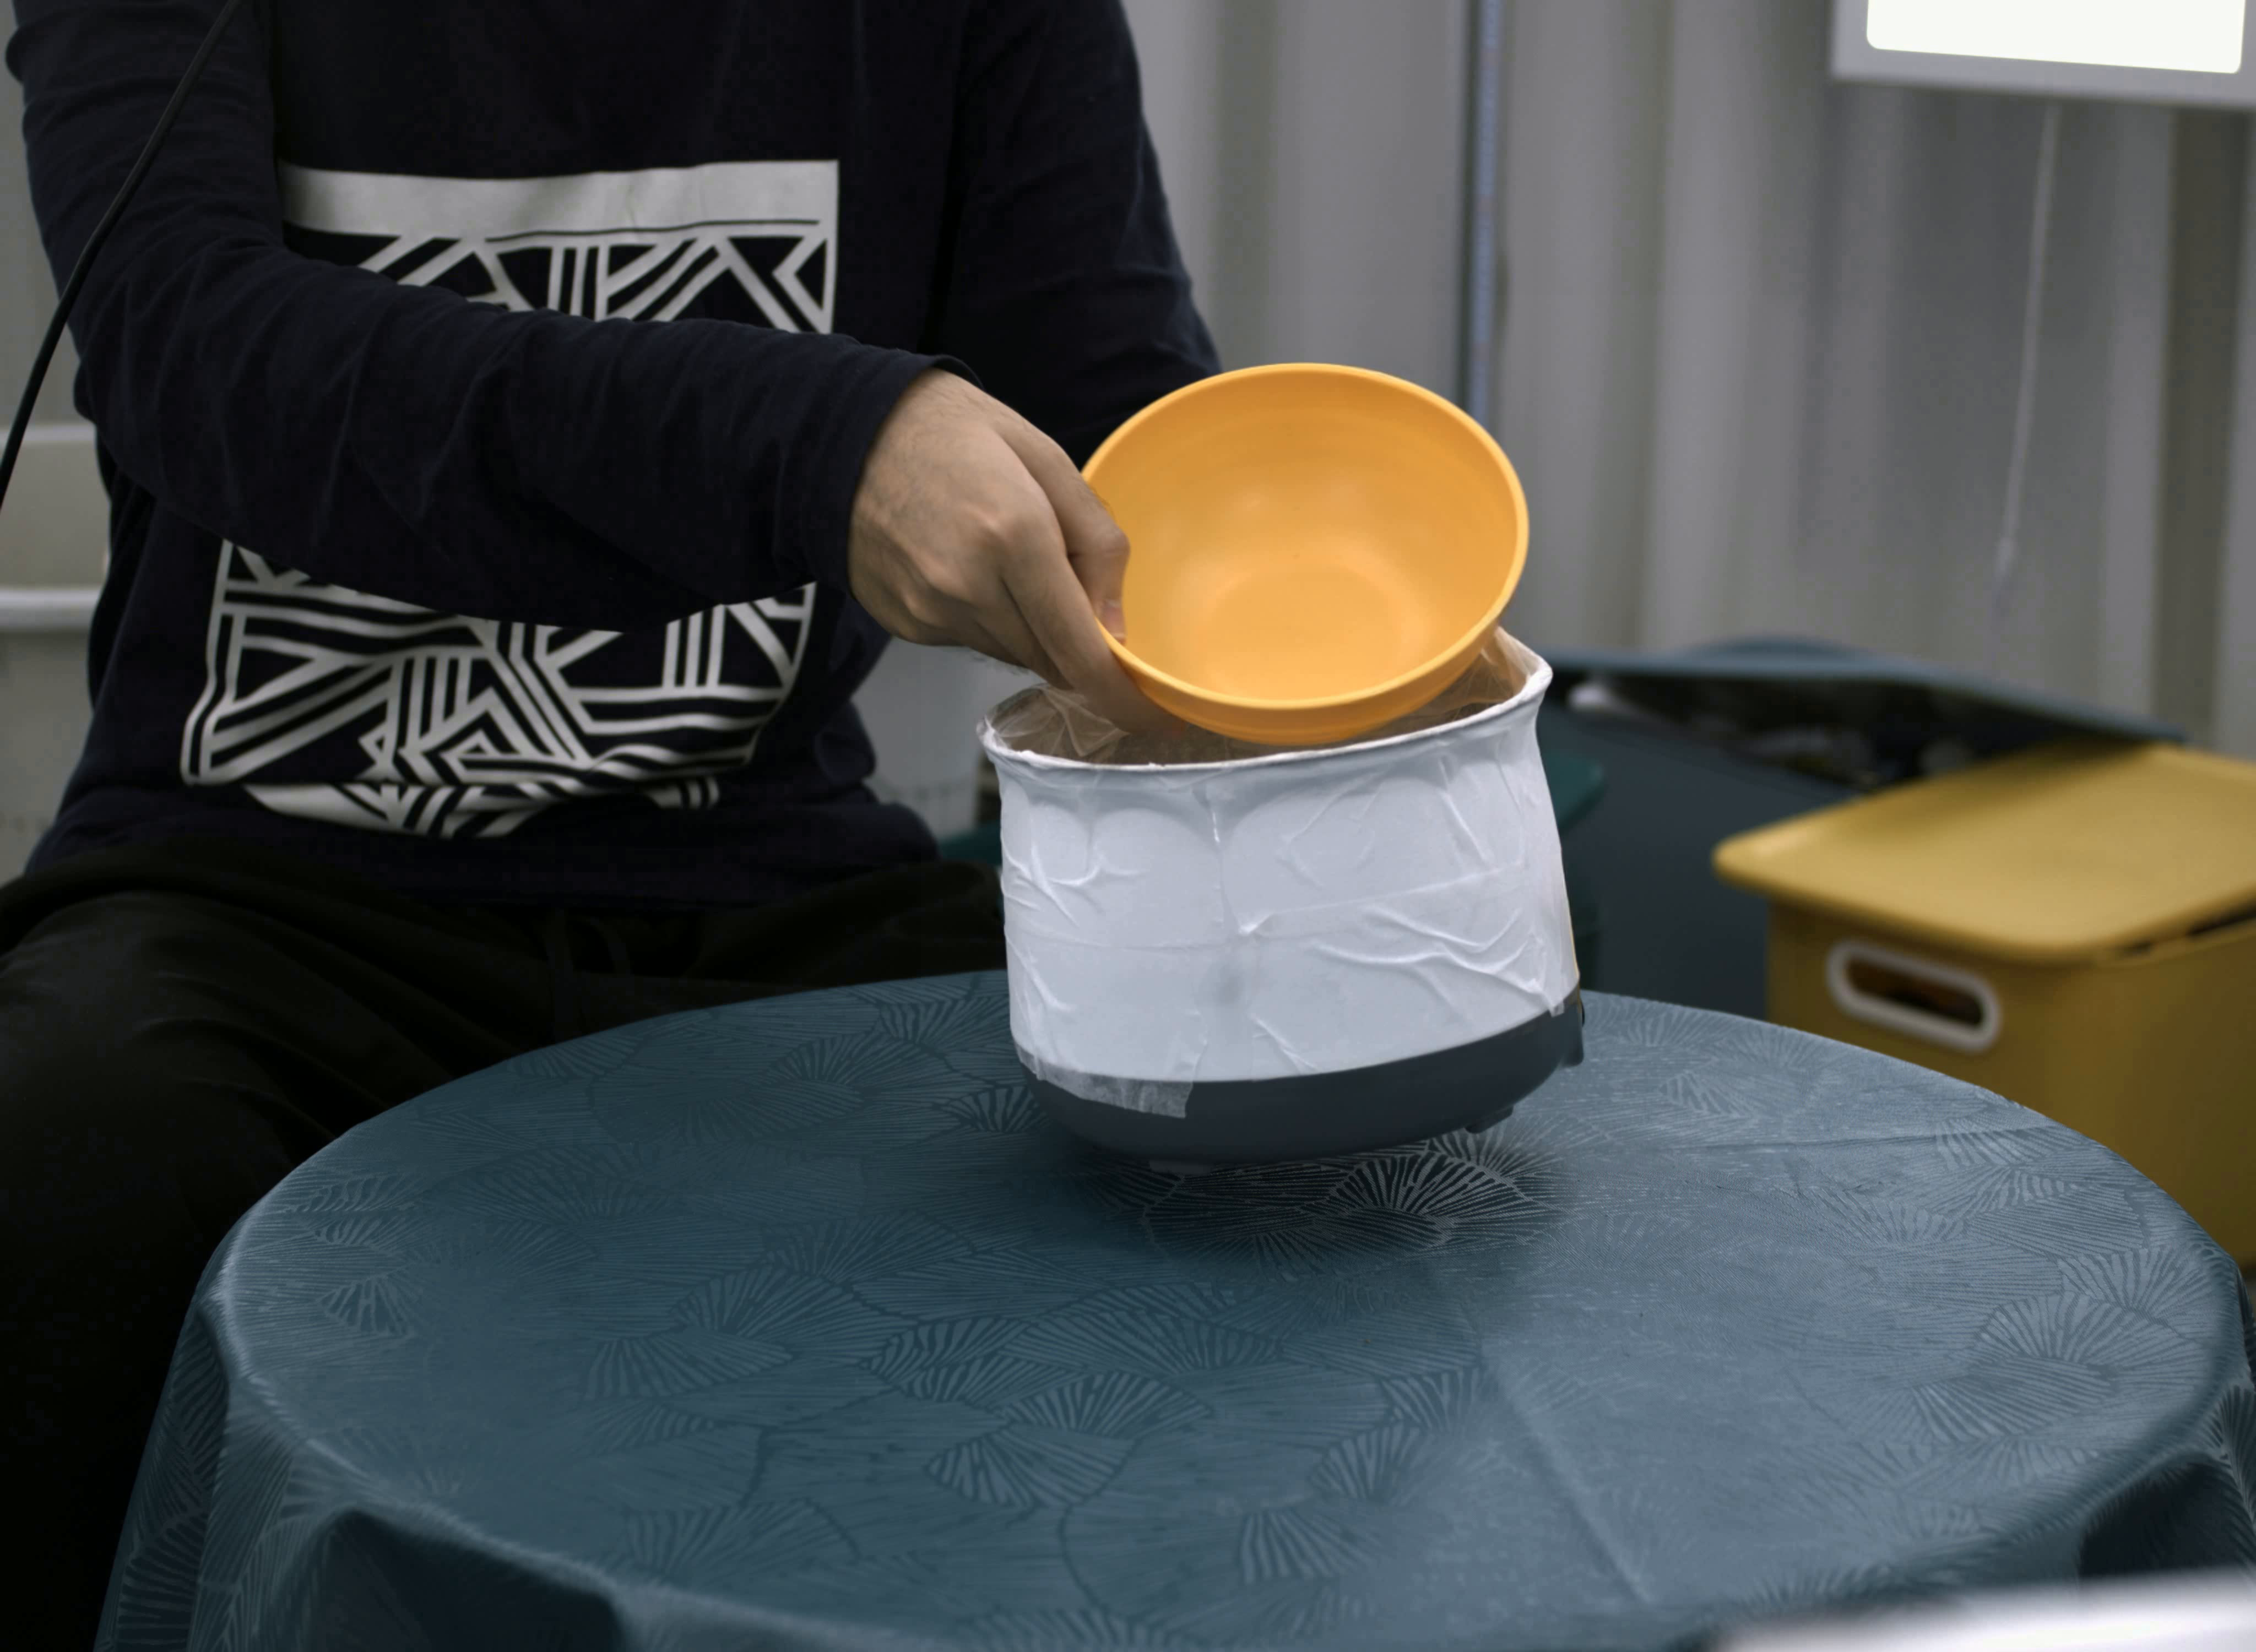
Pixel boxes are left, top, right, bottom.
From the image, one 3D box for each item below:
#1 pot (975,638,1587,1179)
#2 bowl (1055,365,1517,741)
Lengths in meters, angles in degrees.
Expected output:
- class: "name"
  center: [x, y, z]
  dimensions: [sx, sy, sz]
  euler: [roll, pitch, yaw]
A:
- class: "pot"
  center: [0.043, 0.019, 1.647]
  dimensions: [0.178, 0.137, 0.232]
  euler: [-9, 12, -9]
- class: "bowl"
  center: [0.049, -0.074, 1.647]
  dimensions: [0.145, 0.061, 0.144]
  euler: [0, 49, 0]
